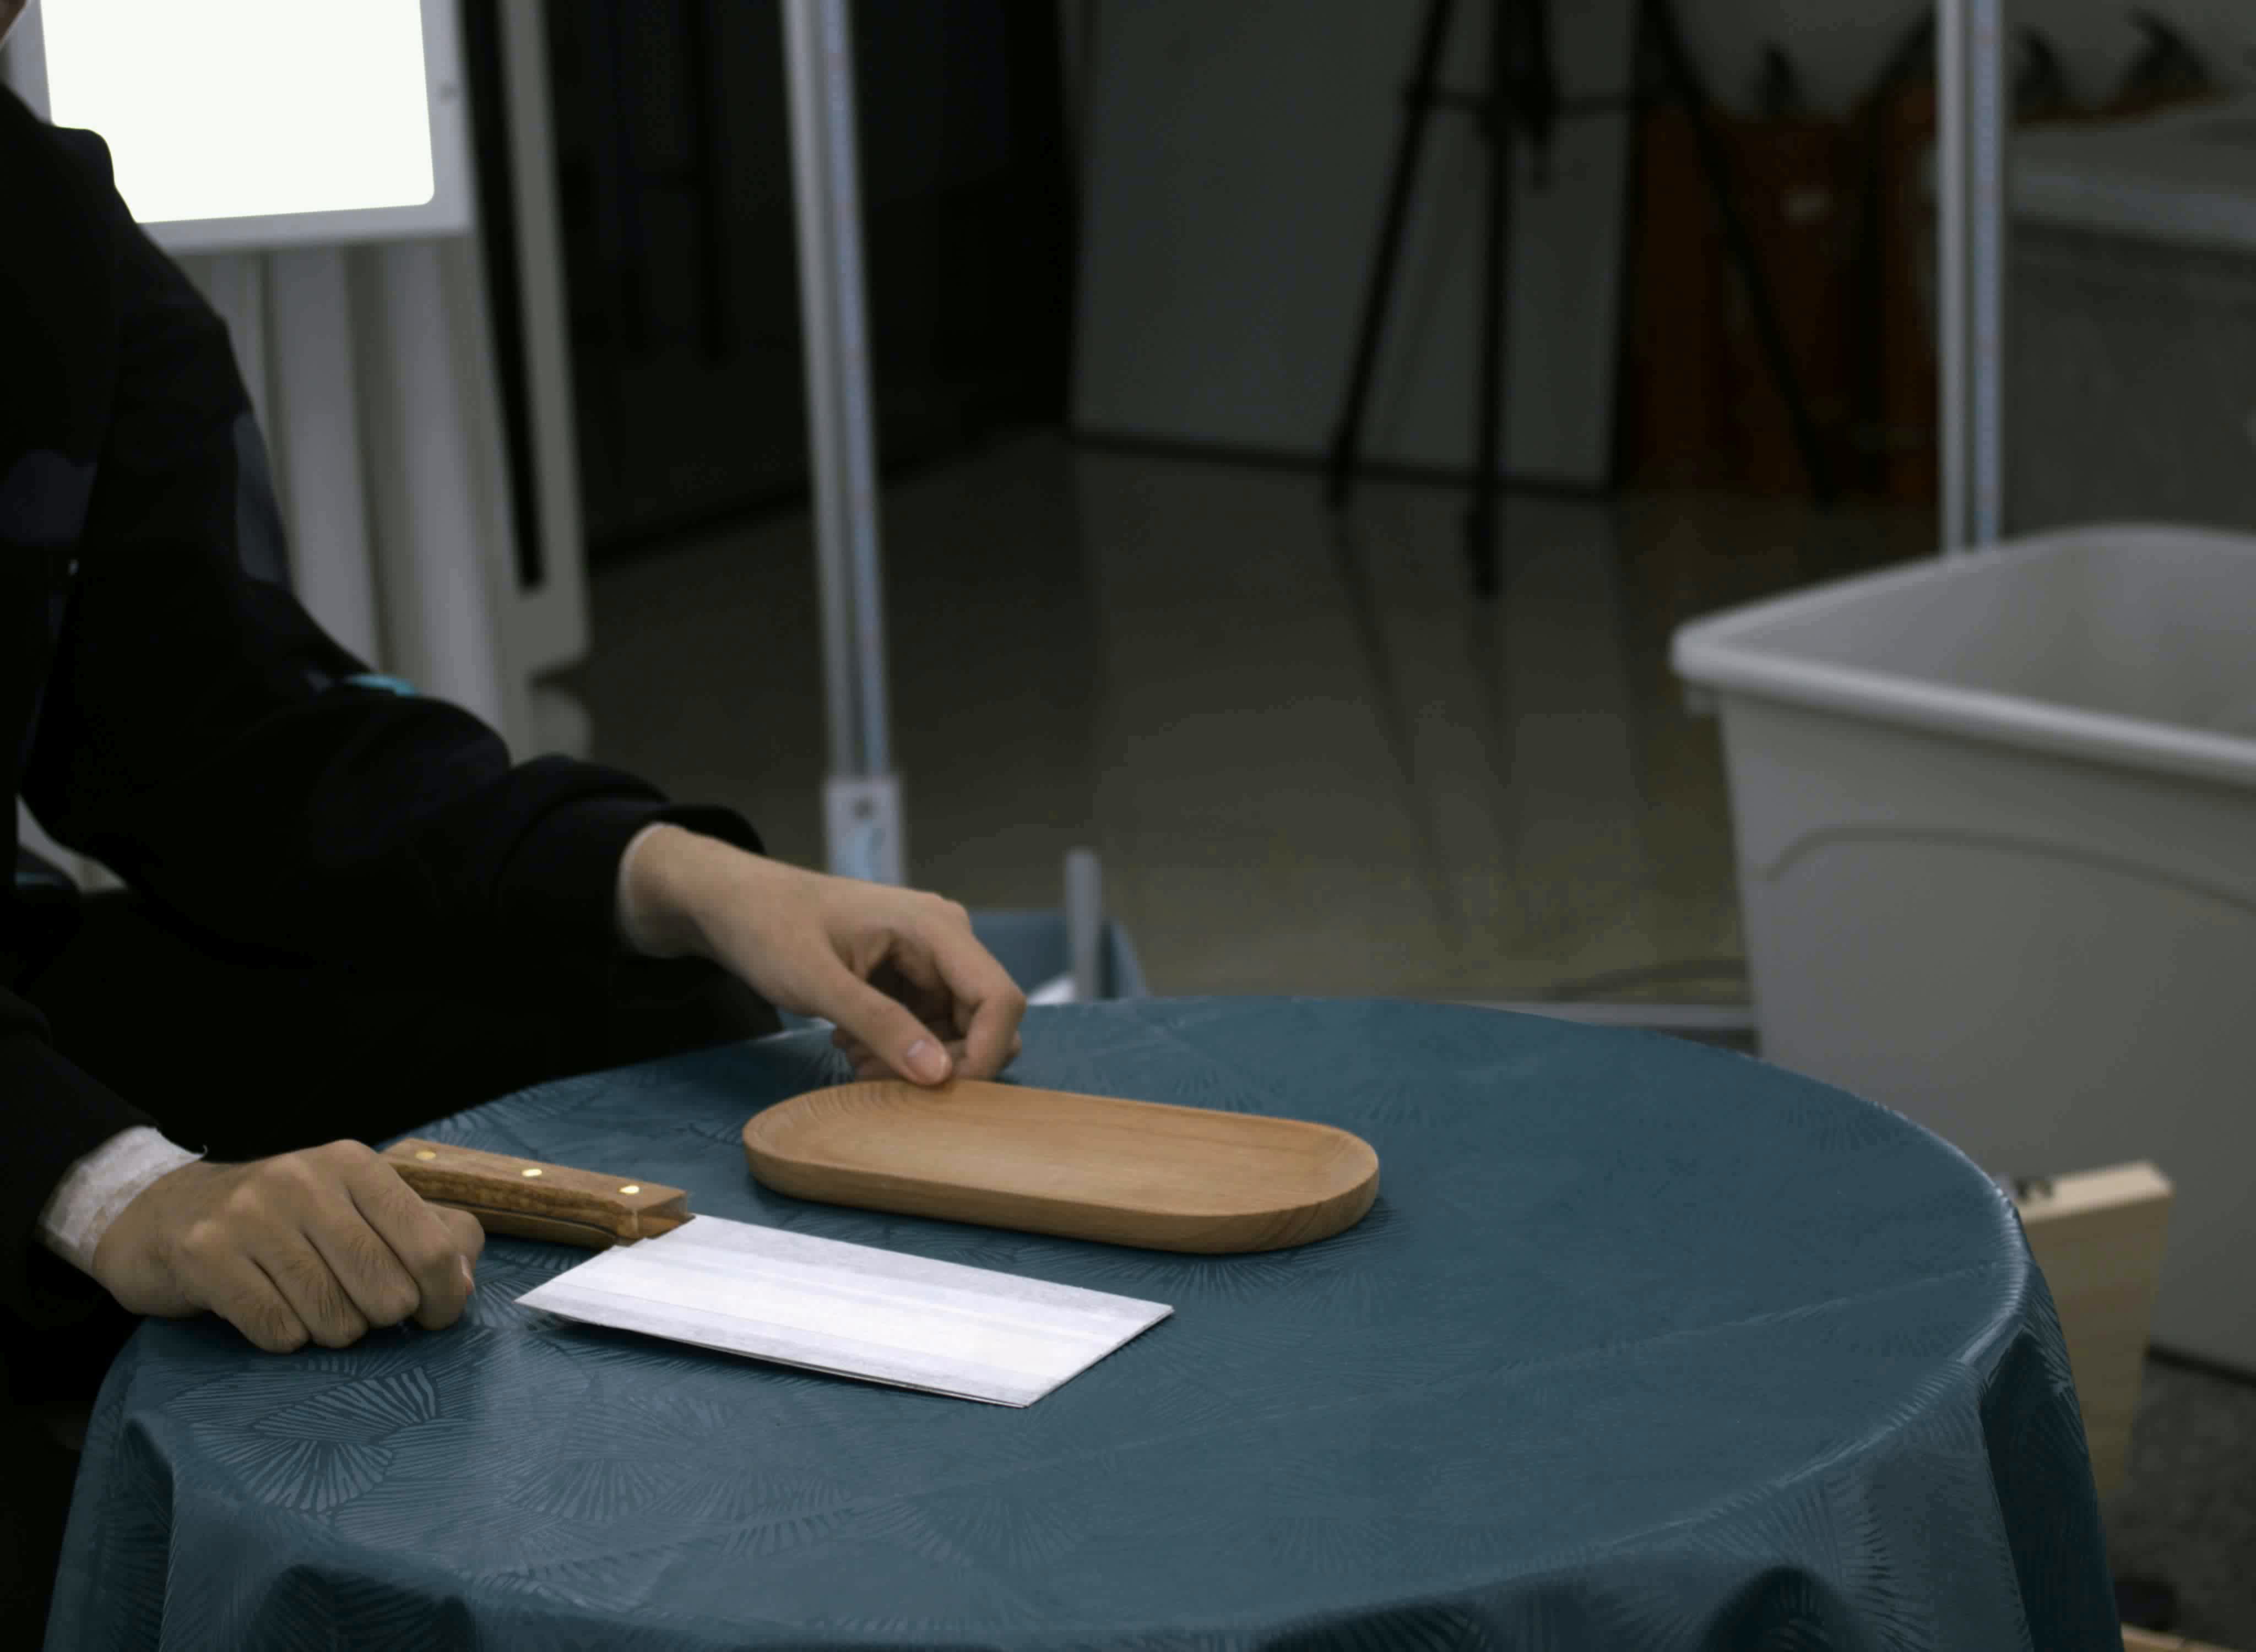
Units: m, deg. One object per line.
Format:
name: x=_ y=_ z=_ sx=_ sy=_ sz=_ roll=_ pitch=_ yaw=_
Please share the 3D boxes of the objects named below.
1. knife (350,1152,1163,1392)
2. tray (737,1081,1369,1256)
knife: x=-0.135 y=0.142 z=1.694 sx=0.307 sy=0.021 sz=0.091 roll=7 pitch=19 yaw=32
tray: x=-0.026 y=0.112 z=1.779 sx=0.232 sy=0.020 sz=0.100 roll=4 pitch=15 yaw=33
